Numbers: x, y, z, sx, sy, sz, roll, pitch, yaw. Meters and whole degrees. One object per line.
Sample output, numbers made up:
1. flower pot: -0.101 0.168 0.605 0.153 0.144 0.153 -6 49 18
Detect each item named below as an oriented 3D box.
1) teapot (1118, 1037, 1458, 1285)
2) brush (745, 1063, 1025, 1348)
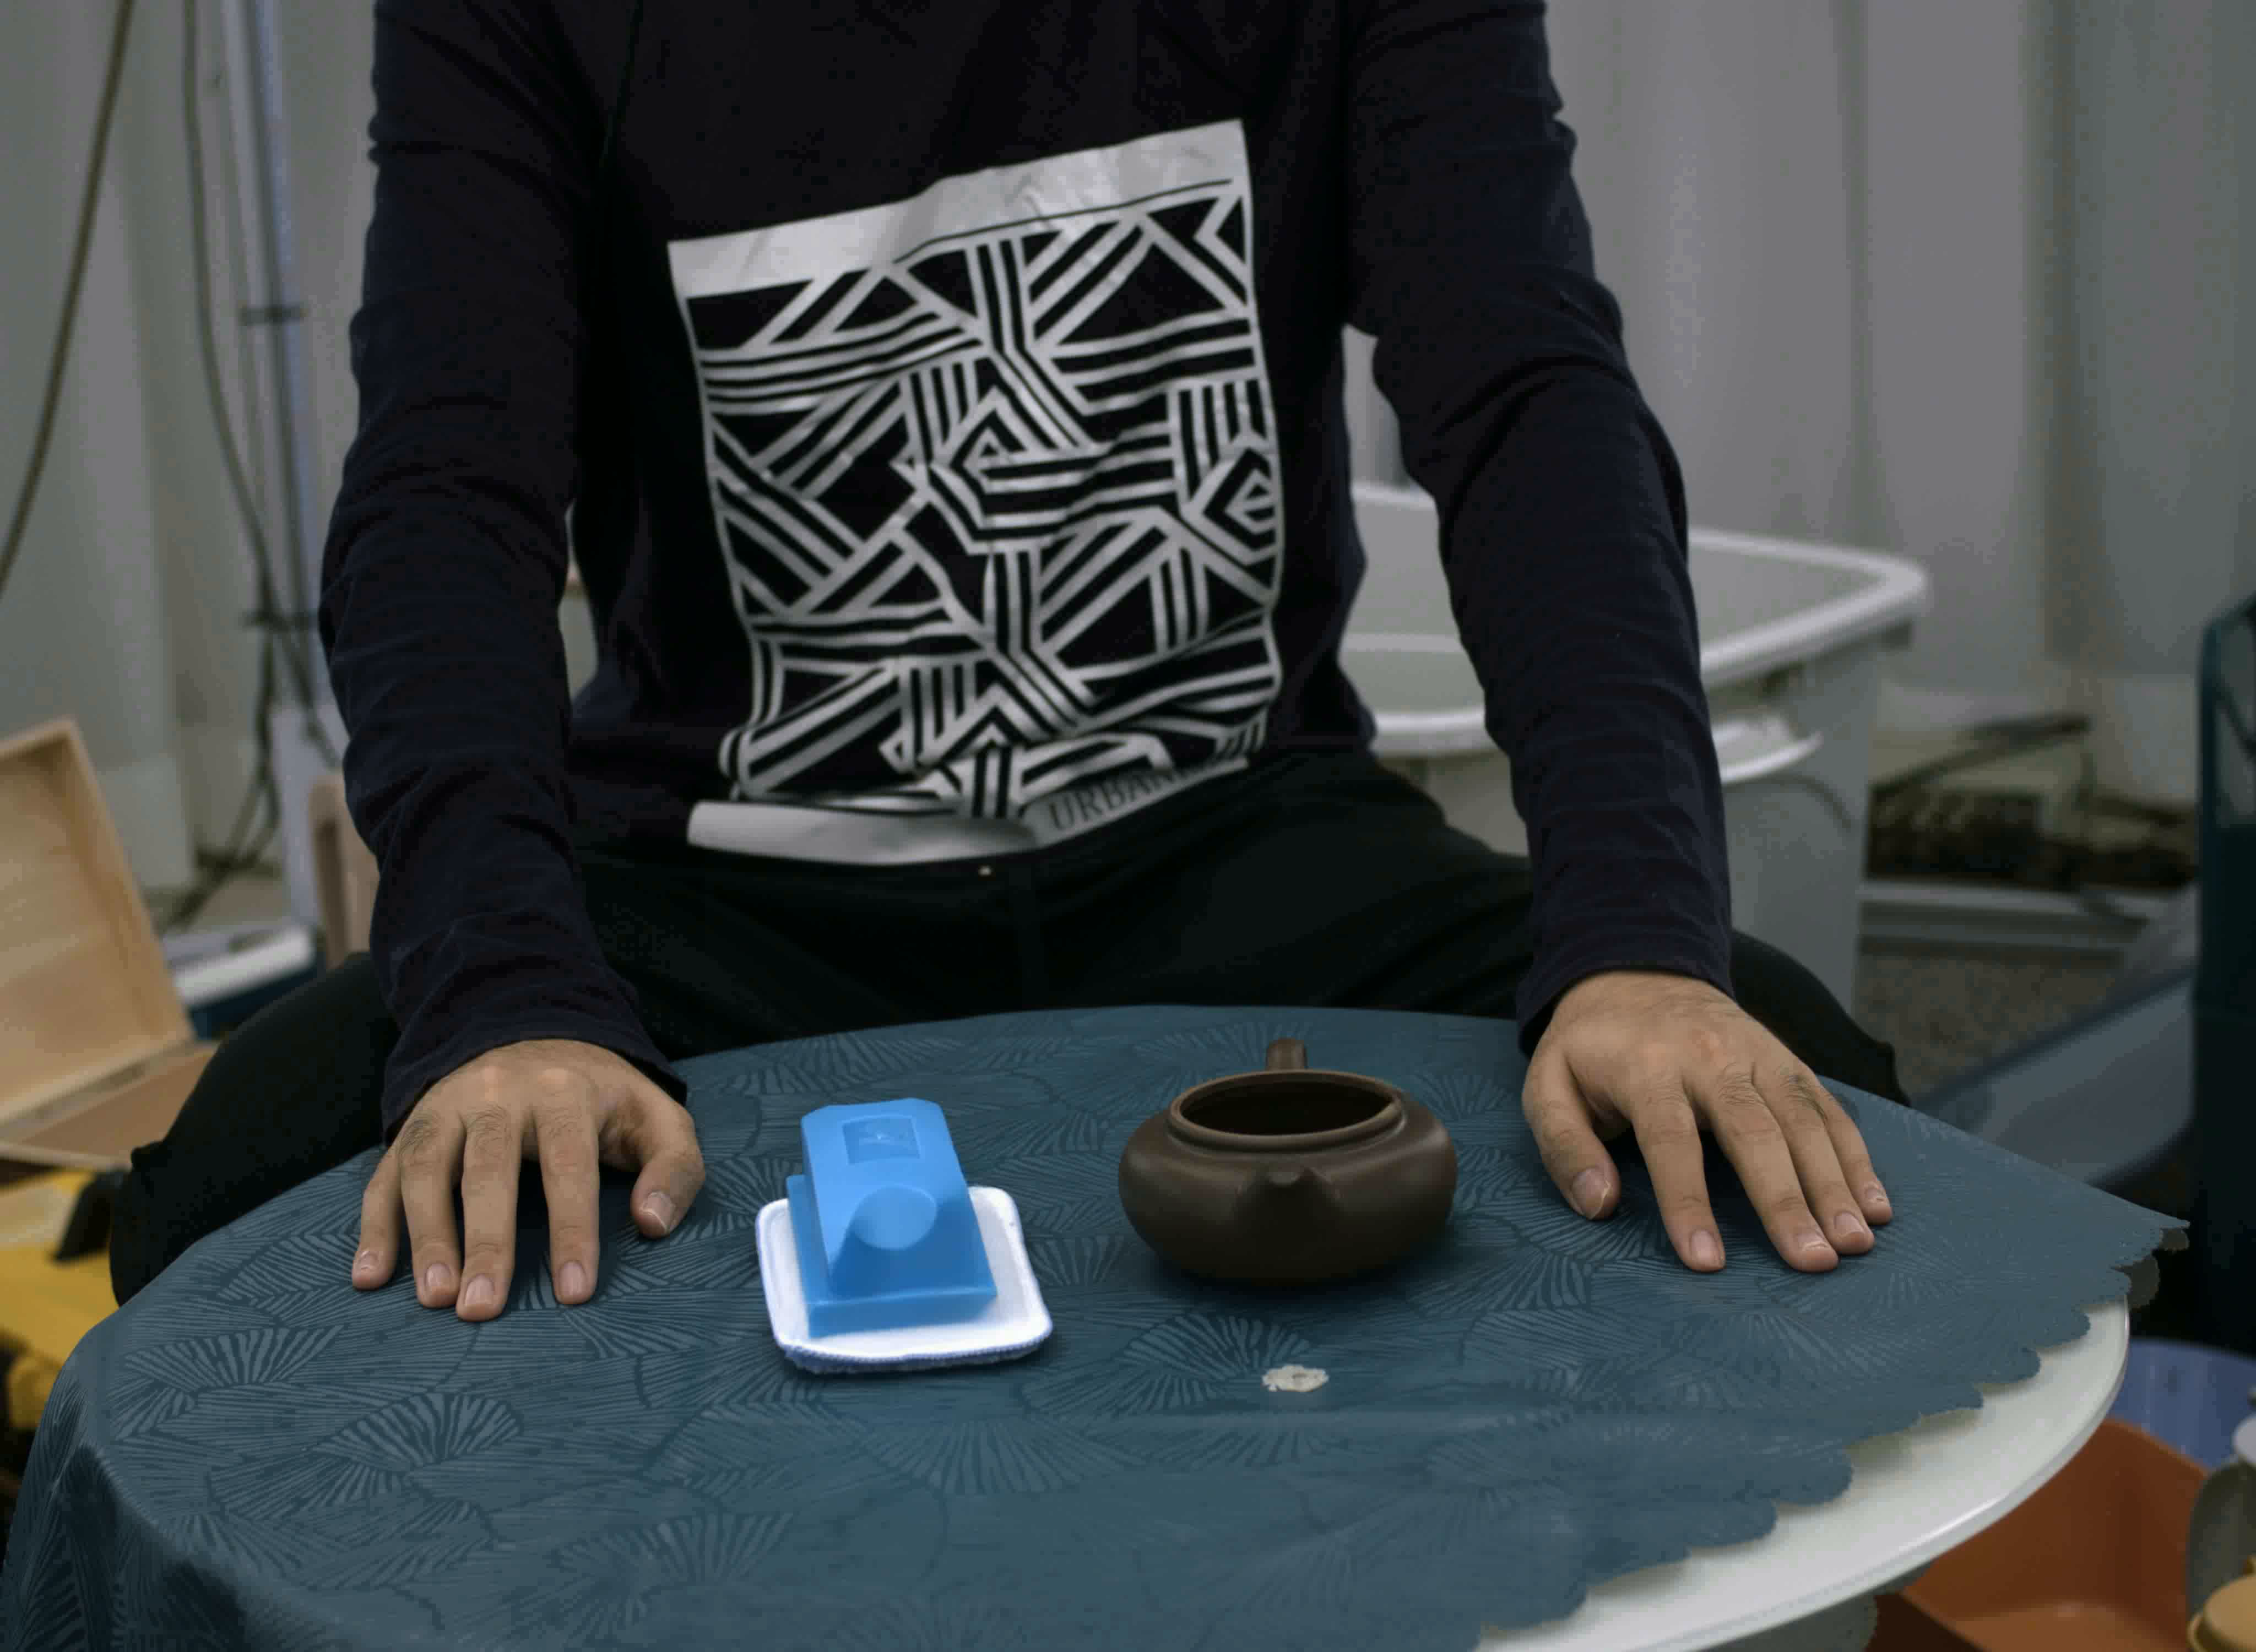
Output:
1. teapot: 0.048 0.102 1.649 0.102 0.053 0.154 -2 15 -4
2. brush: -0.072 0.110 1.630 0.083 0.055 0.145 -1 17 -4
